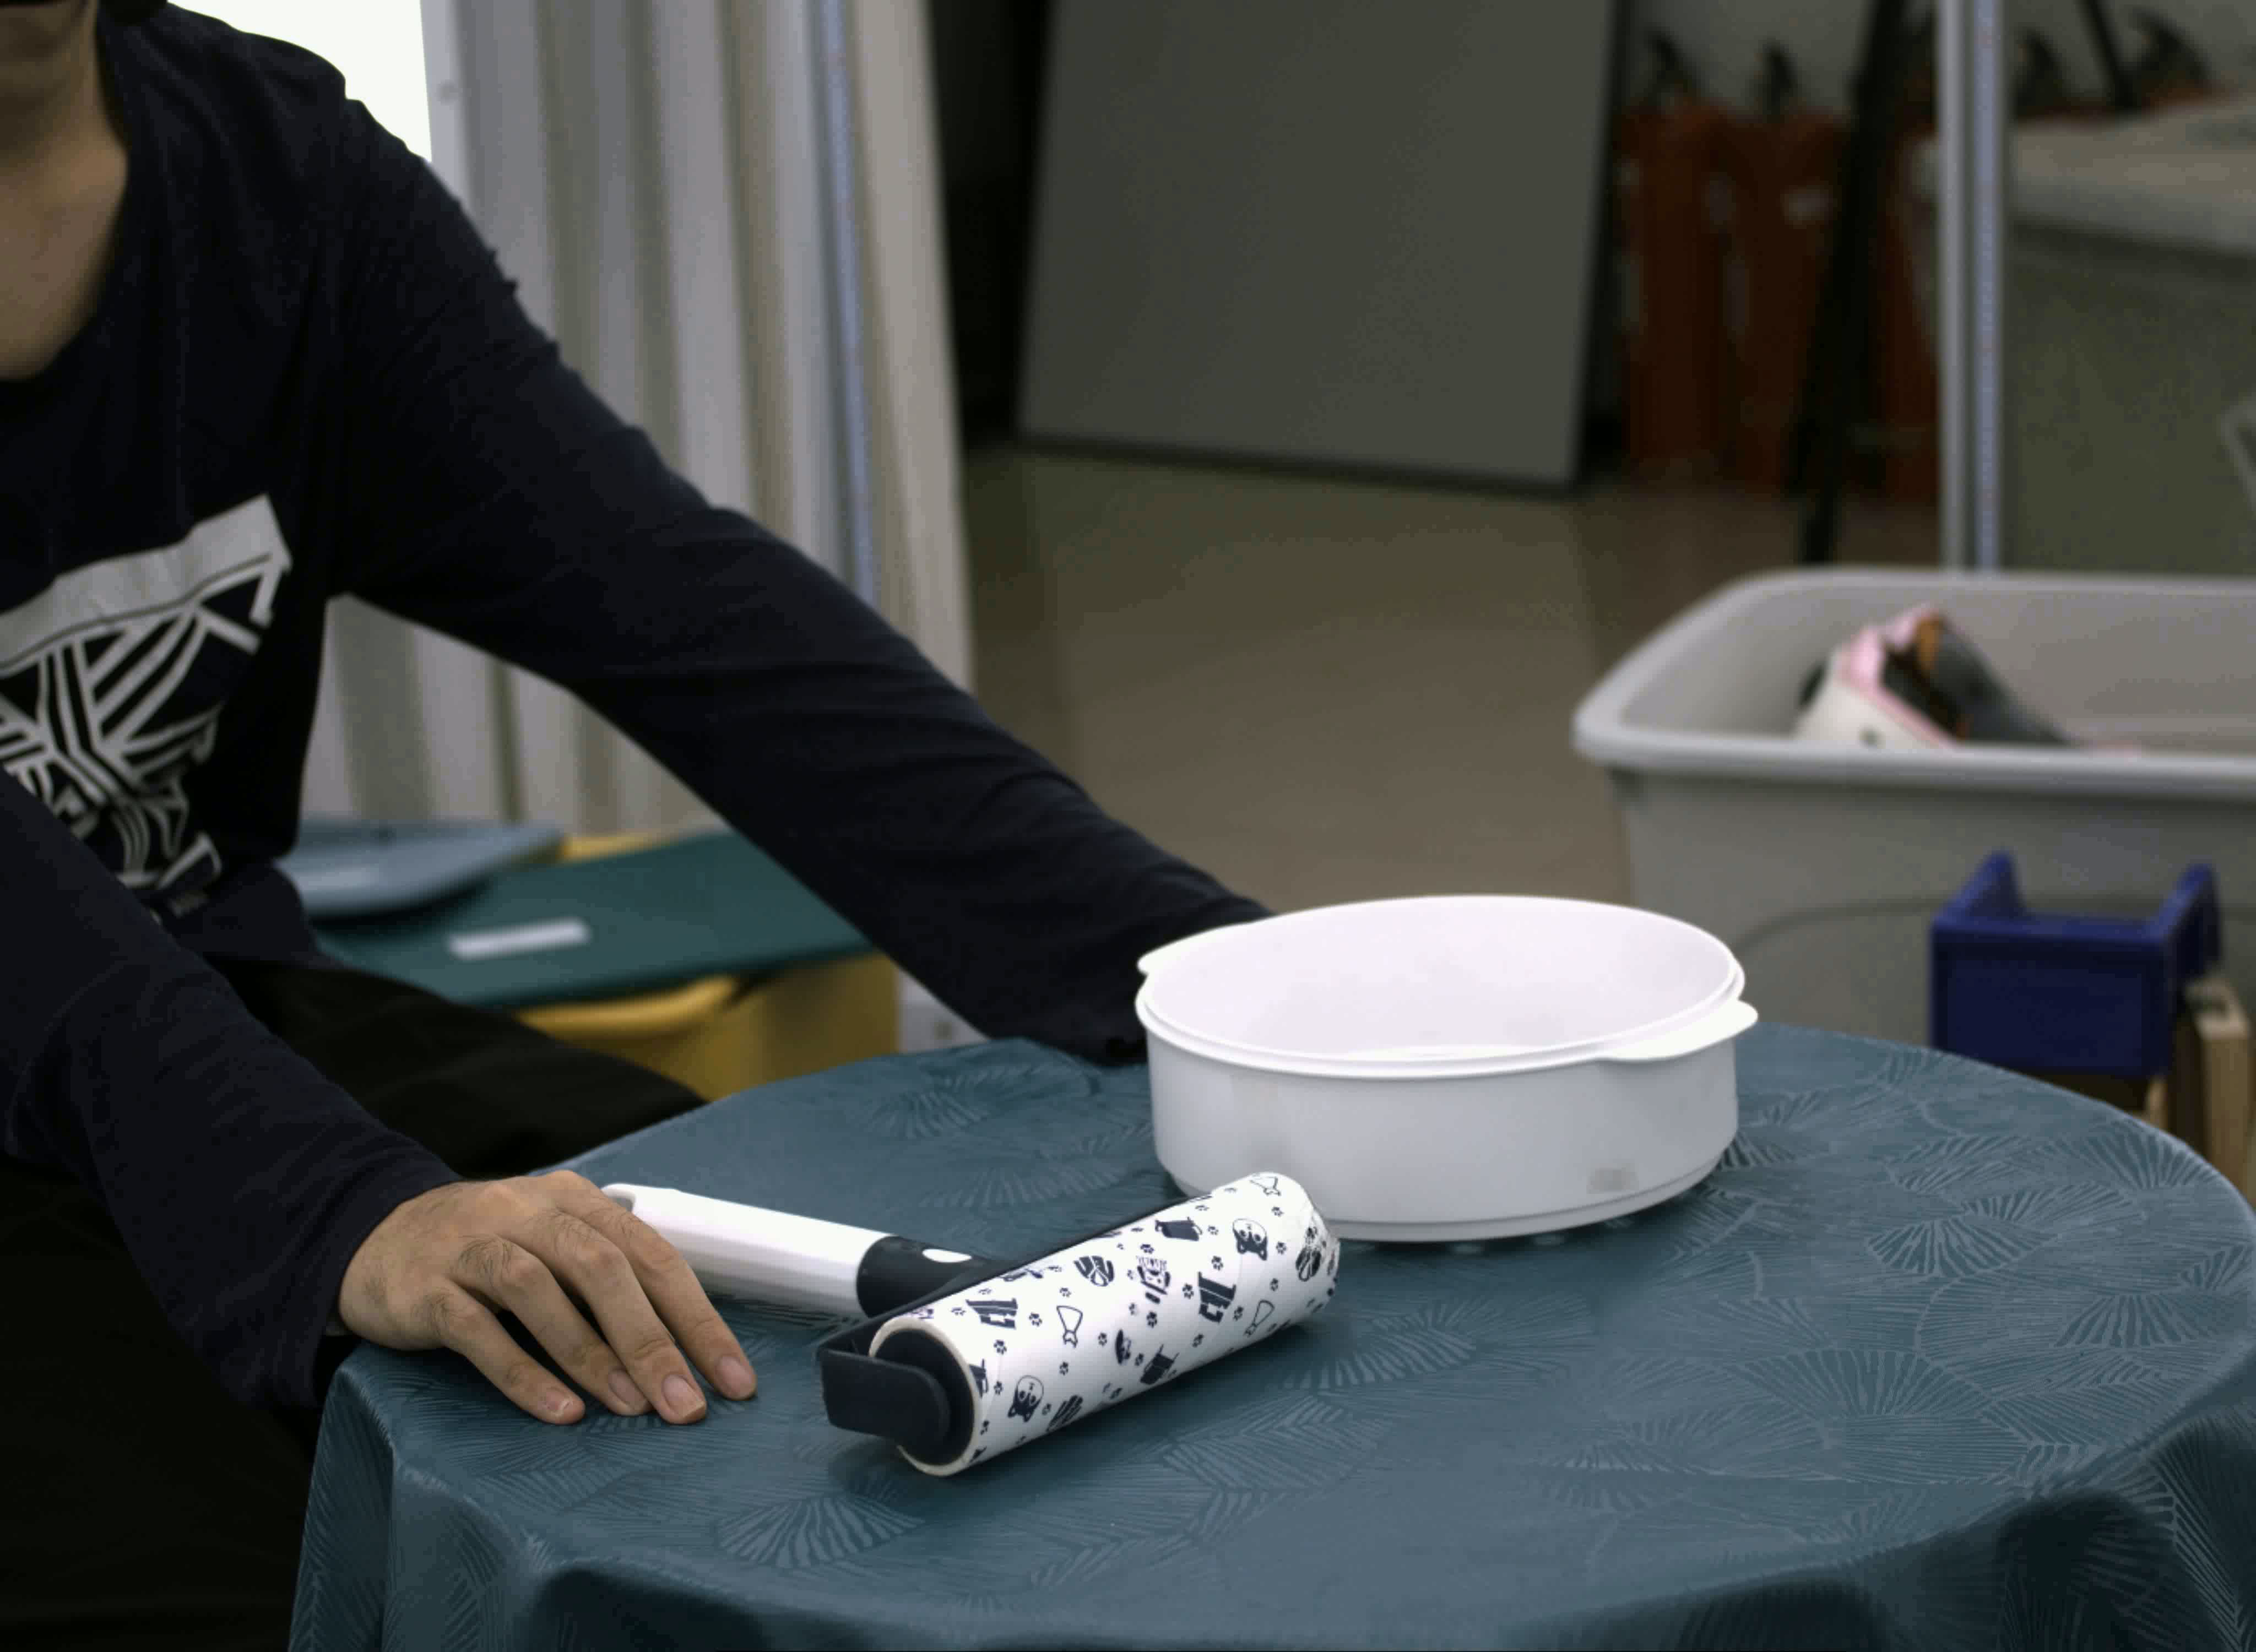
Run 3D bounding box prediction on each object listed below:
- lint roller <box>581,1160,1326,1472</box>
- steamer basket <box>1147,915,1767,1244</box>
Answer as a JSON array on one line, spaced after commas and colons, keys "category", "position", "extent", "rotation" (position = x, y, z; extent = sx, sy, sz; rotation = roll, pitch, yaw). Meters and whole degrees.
[{"category": "lint roller", "position": [-0.082, 0.137, 1.647], "extent": [0.249, 0.051, 0.173], "rotation": [5, 16, 42]}, {"category": "steamer basket", "position": [0.107, 0.083, 1.765], "extent": [0.232, 0.070, 0.198], "rotation": [4, 15, 43]}]
